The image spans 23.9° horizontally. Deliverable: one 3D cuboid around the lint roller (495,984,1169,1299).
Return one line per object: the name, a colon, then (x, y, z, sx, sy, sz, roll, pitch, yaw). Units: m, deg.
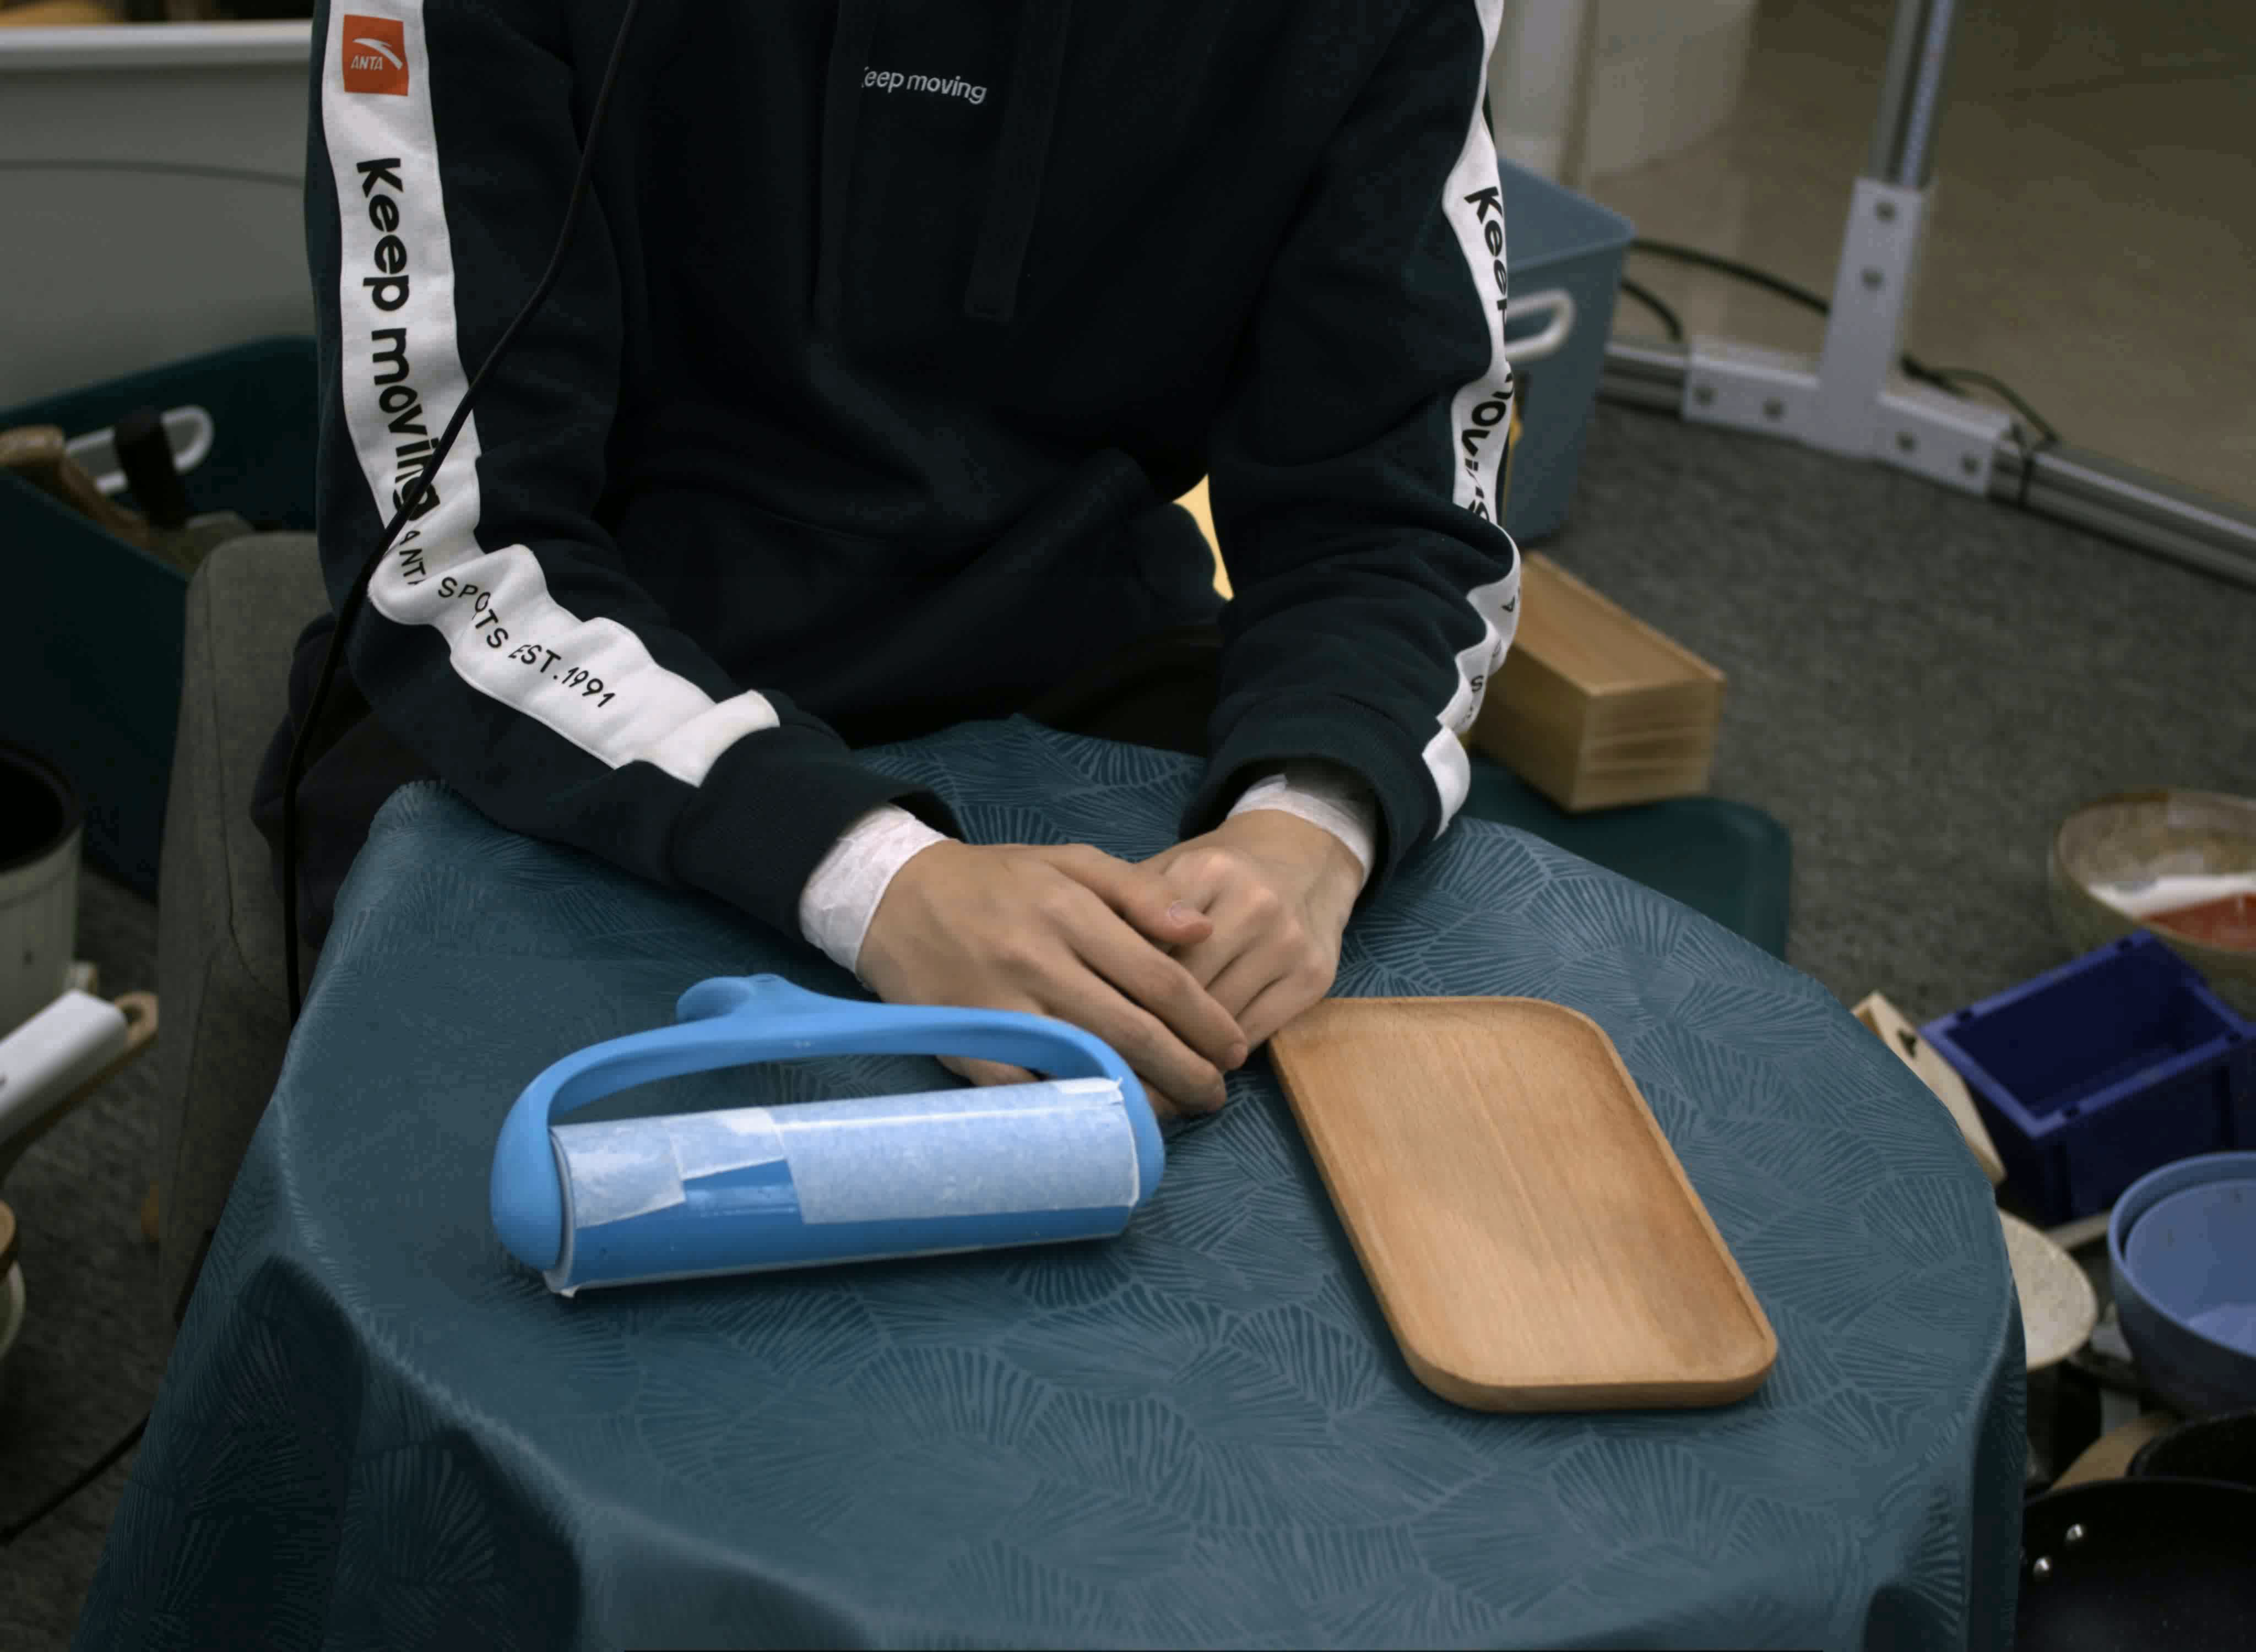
lint roller: (-0.117, 0.088, 1.779, 0.227, 0.067, 0.182, -7, 31, -22)

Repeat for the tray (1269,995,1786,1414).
tray: (0.131, 0.125, 1.806, 0.130, 0.023, 0.252, 2, 26, -13)
